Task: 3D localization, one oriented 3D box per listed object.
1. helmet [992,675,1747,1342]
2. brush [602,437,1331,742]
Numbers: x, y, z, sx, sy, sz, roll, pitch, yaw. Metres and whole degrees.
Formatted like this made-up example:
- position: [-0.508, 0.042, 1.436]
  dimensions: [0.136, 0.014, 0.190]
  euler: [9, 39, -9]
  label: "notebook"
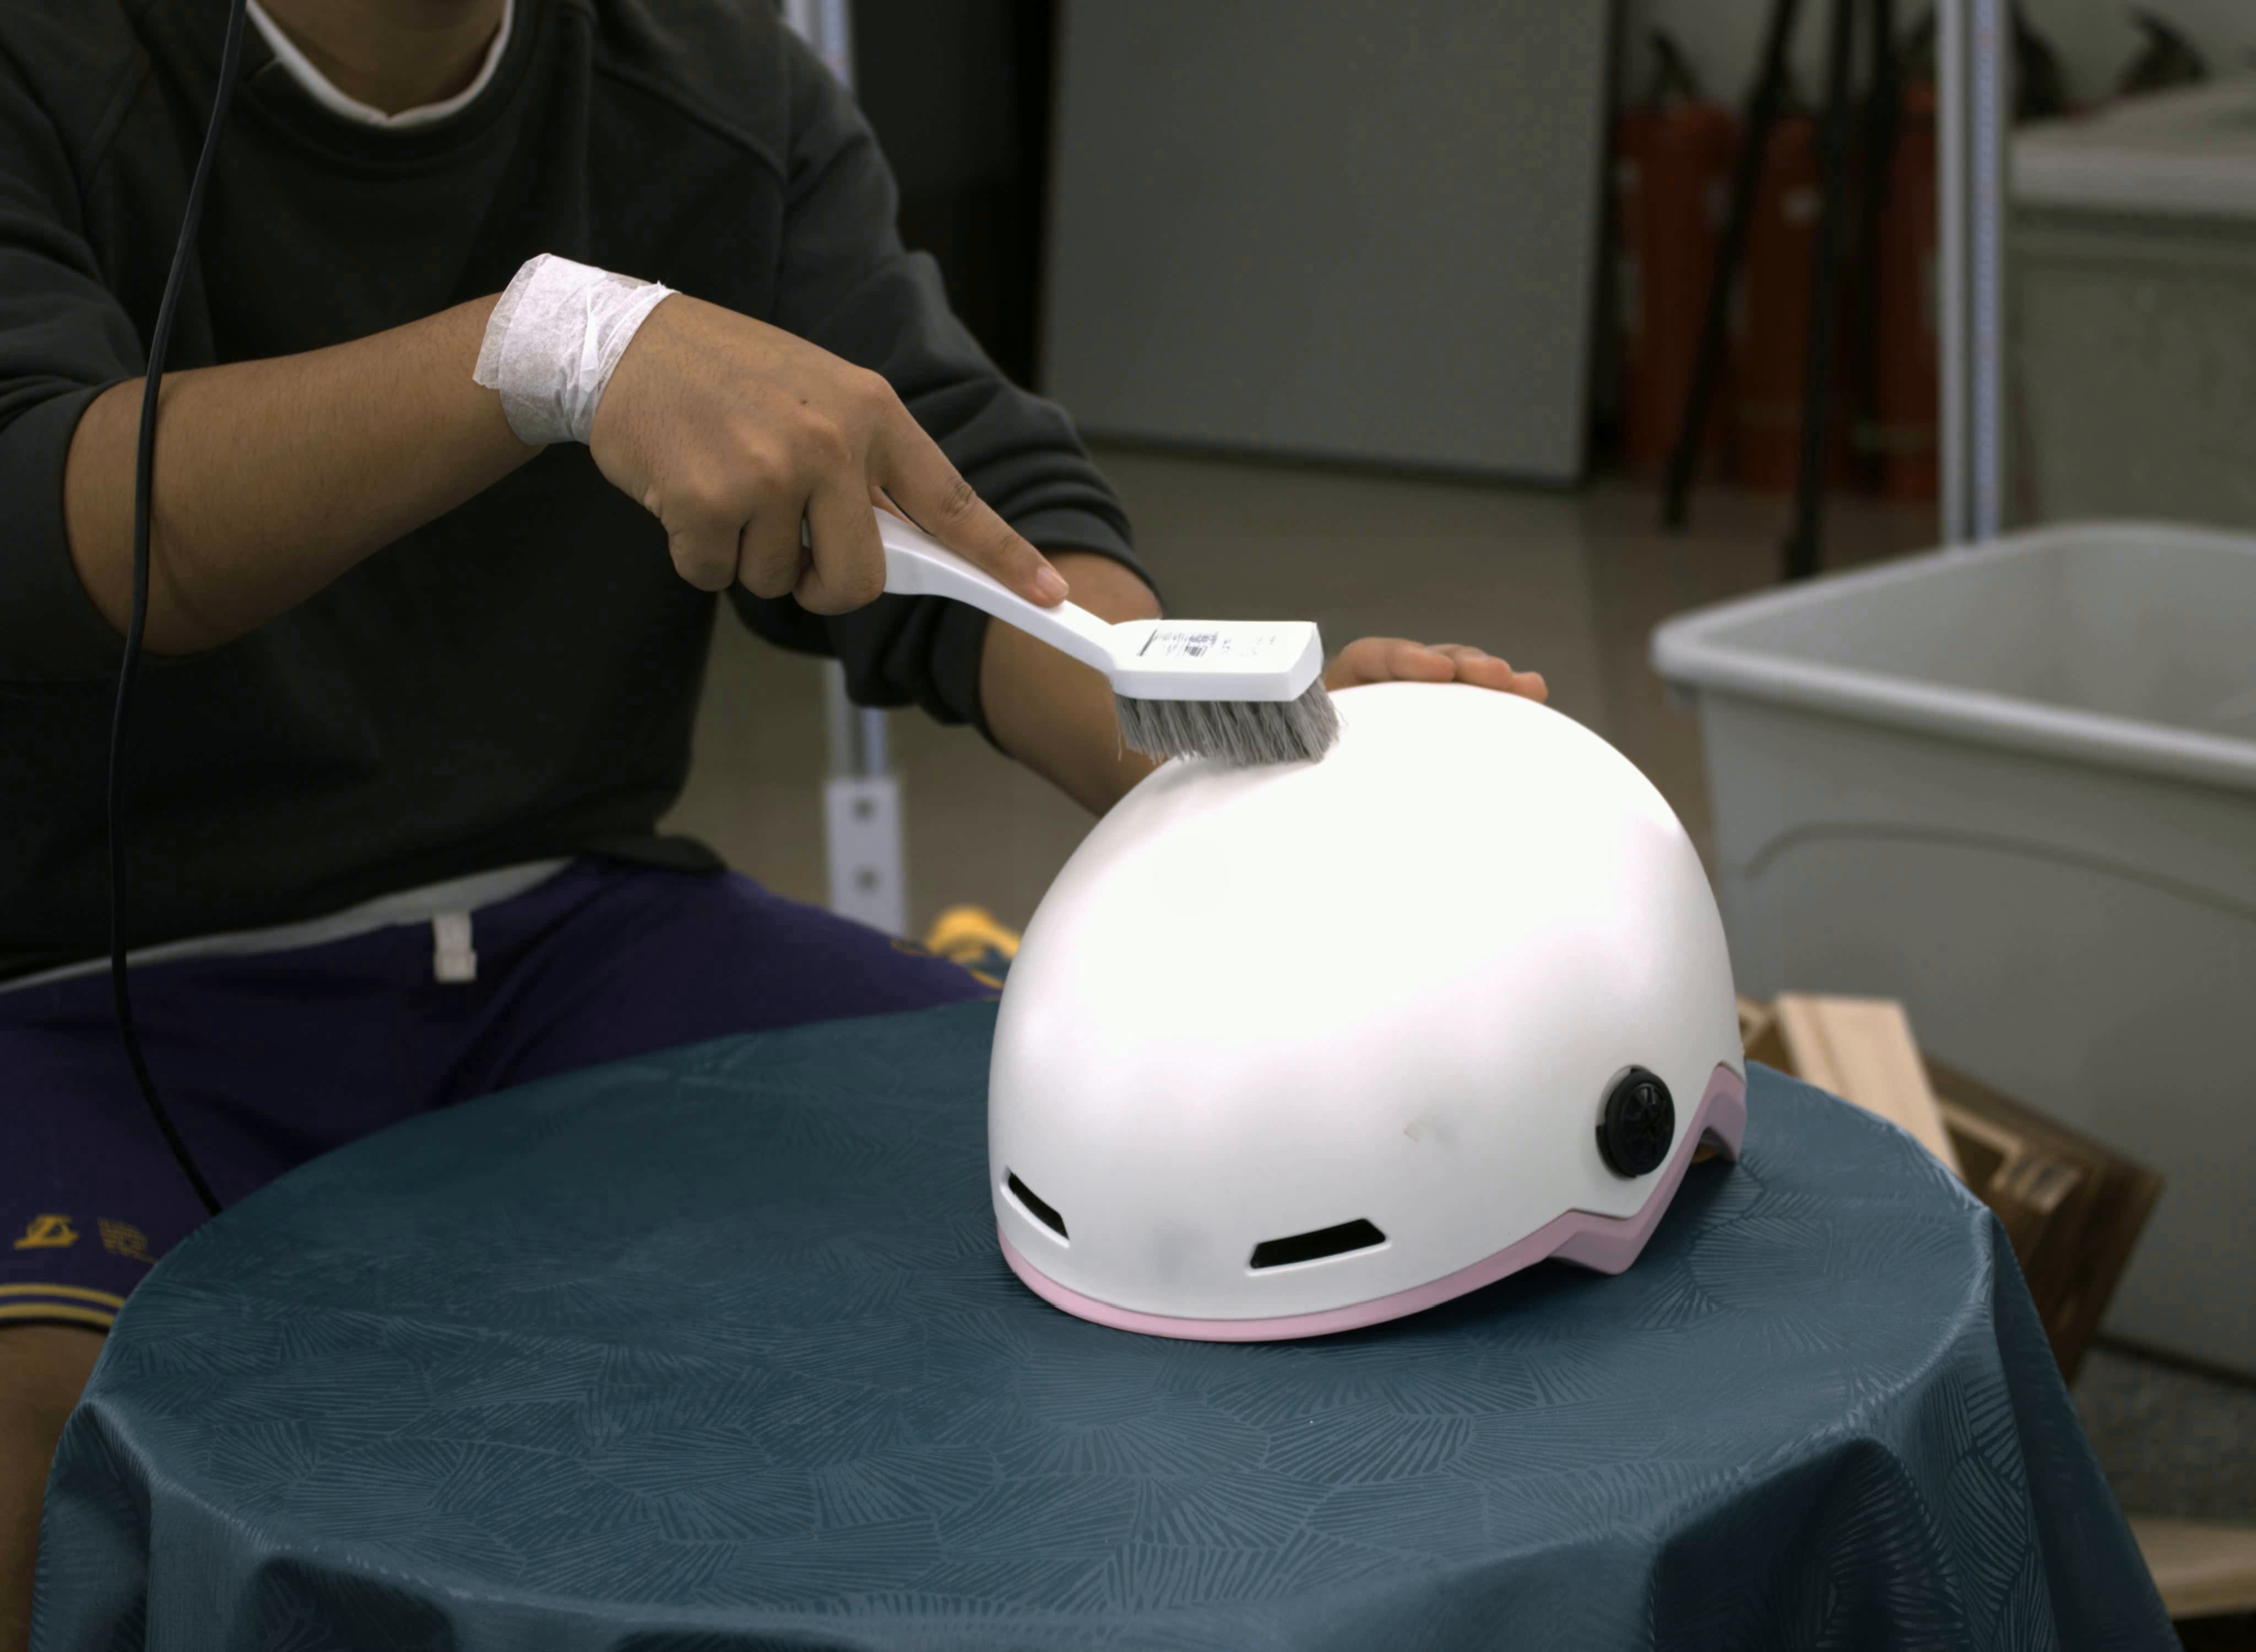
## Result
- position: [0.075, 0.045, 1.714]
  dimensions: [0.238, 0.169, 0.264]
  euler: [6, 17, 35]
  label: "helmet"
- position: [-0.052, -0.071, 1.698]
  dimensions: [0.242, 0.051, 0.034]
  euler: [15, 33, 8]
  label: "brush"
